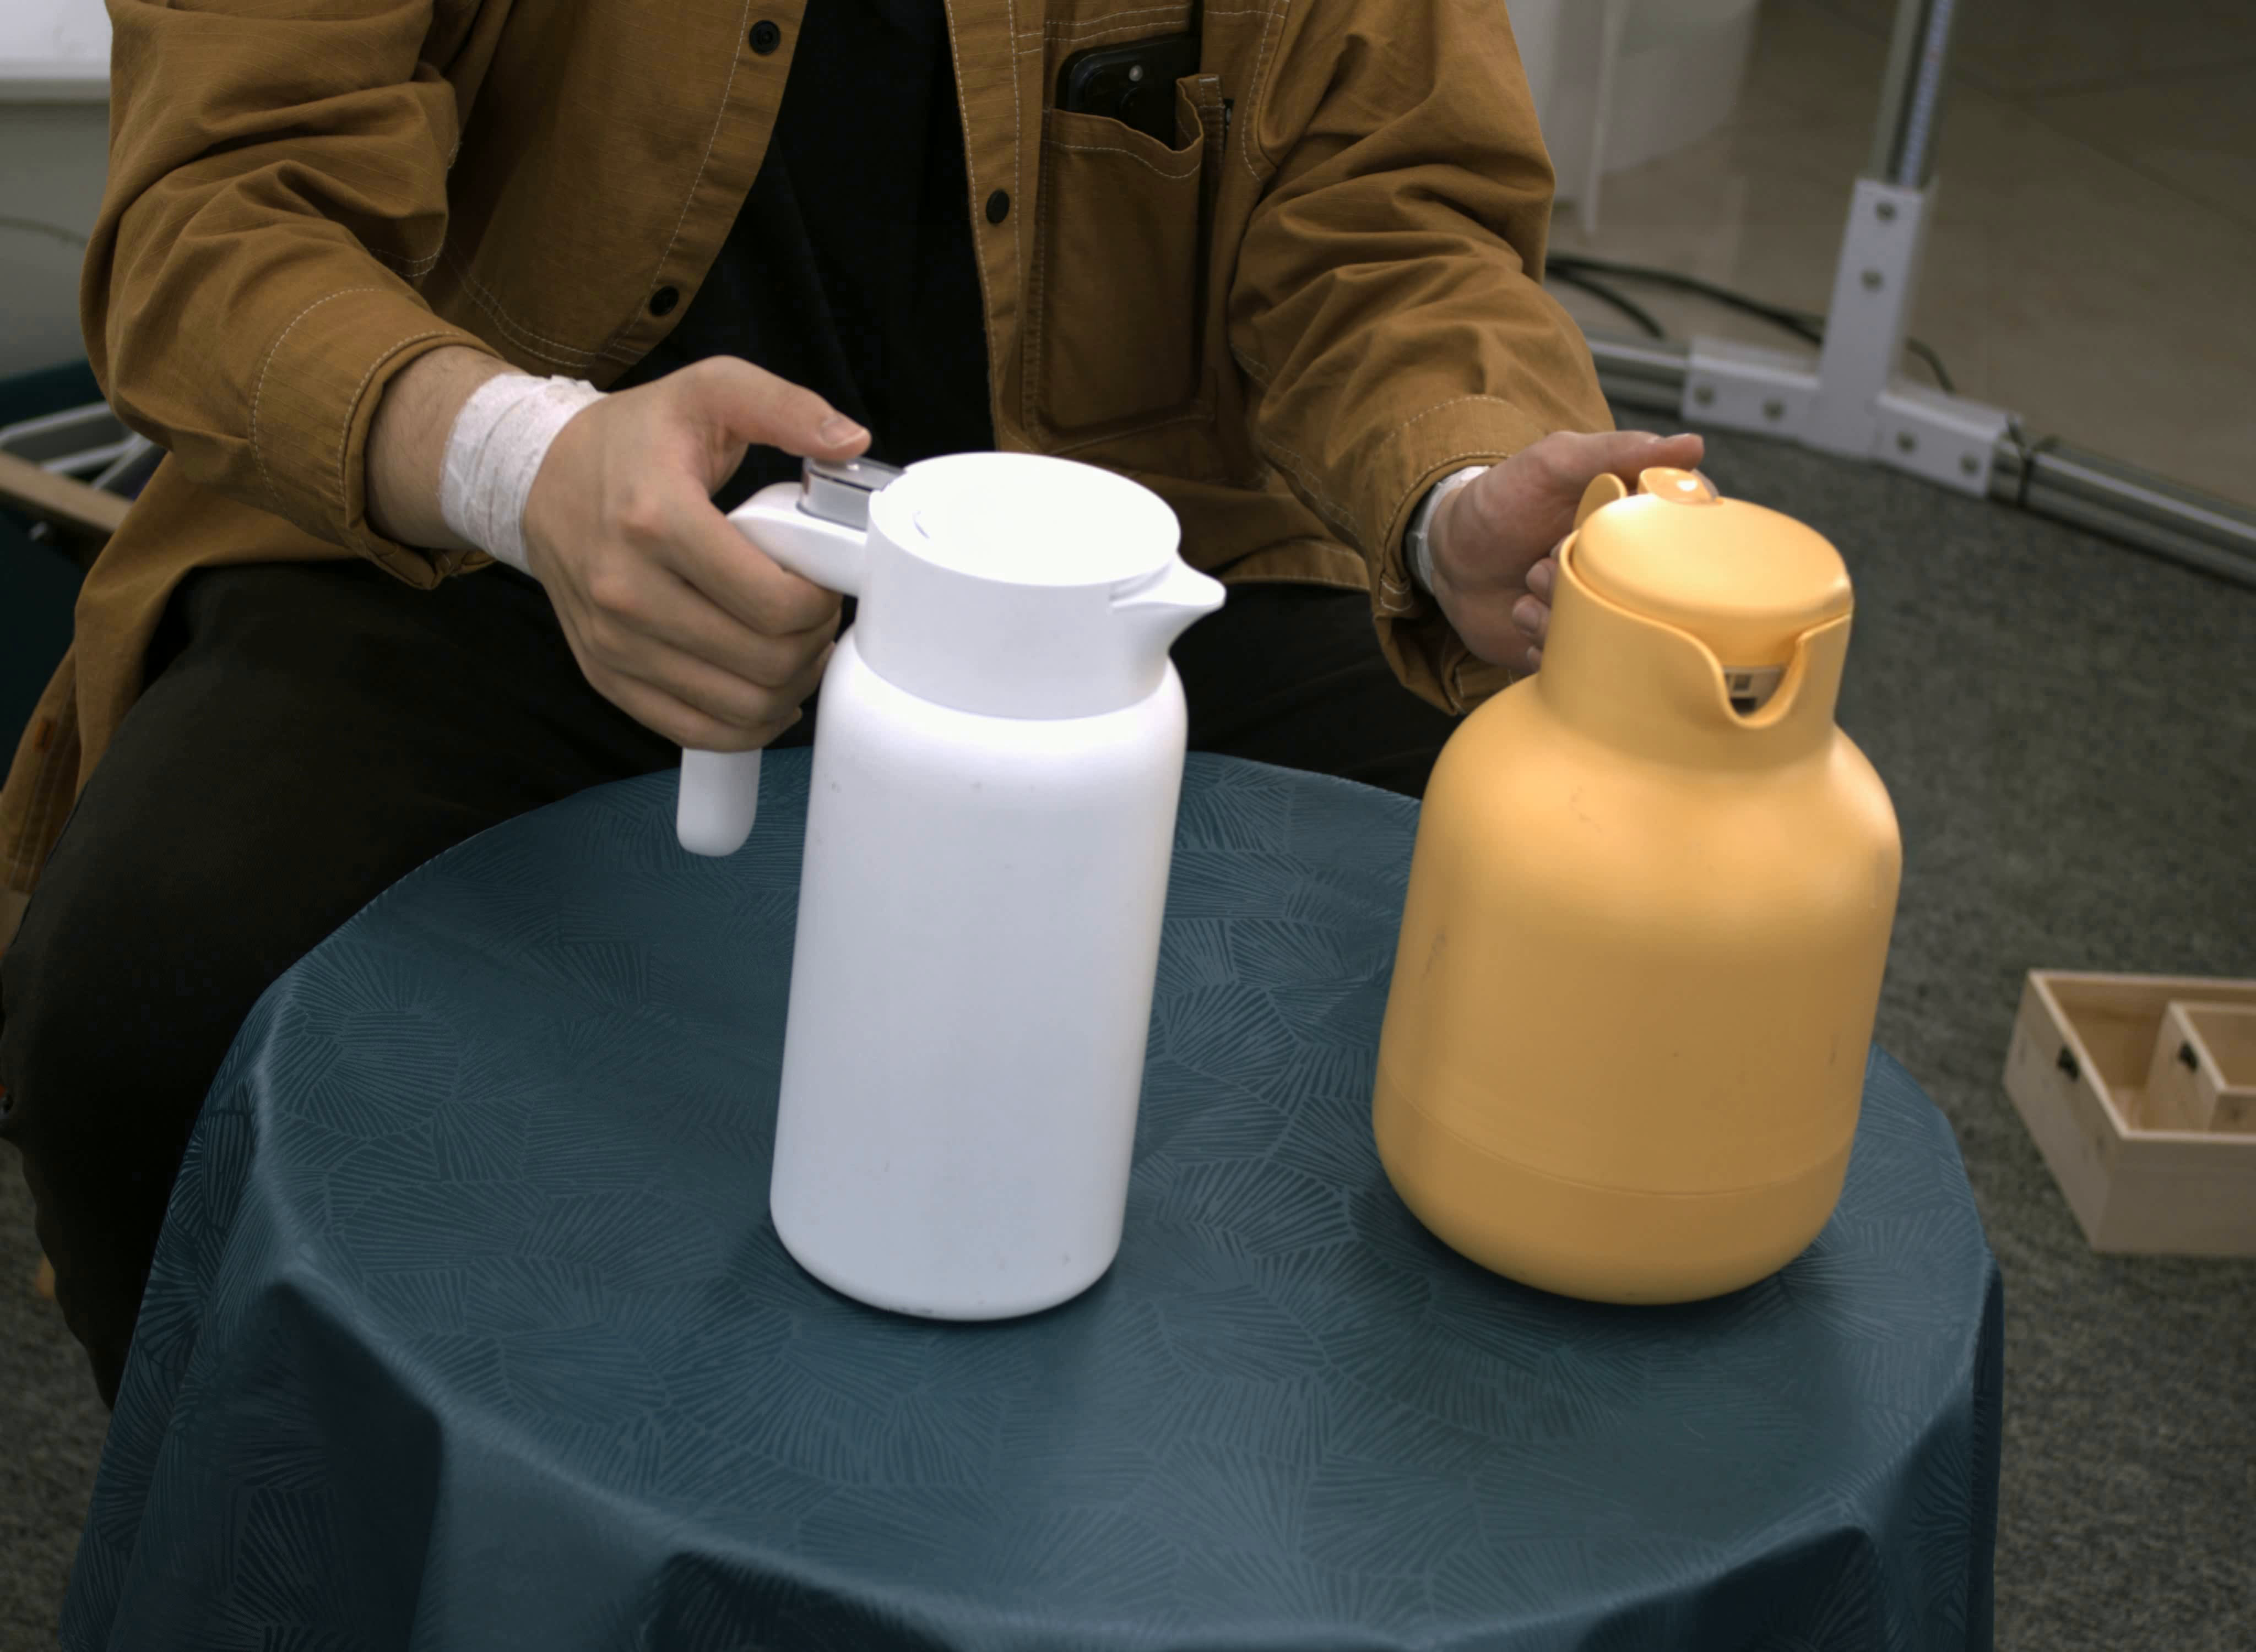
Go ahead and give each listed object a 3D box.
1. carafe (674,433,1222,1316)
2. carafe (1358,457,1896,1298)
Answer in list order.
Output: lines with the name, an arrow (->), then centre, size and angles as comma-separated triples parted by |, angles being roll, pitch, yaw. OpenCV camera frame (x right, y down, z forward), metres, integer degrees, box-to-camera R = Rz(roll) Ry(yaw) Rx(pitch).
carafe -> -0.065, 0.014, 1.712 | 0.173, 0.268, 0.124 | 17, 30, 18
carafe -> 0.171, 0.008, 1.781 | 0.162, 0.259, 0.204 | 5, 28, -9
